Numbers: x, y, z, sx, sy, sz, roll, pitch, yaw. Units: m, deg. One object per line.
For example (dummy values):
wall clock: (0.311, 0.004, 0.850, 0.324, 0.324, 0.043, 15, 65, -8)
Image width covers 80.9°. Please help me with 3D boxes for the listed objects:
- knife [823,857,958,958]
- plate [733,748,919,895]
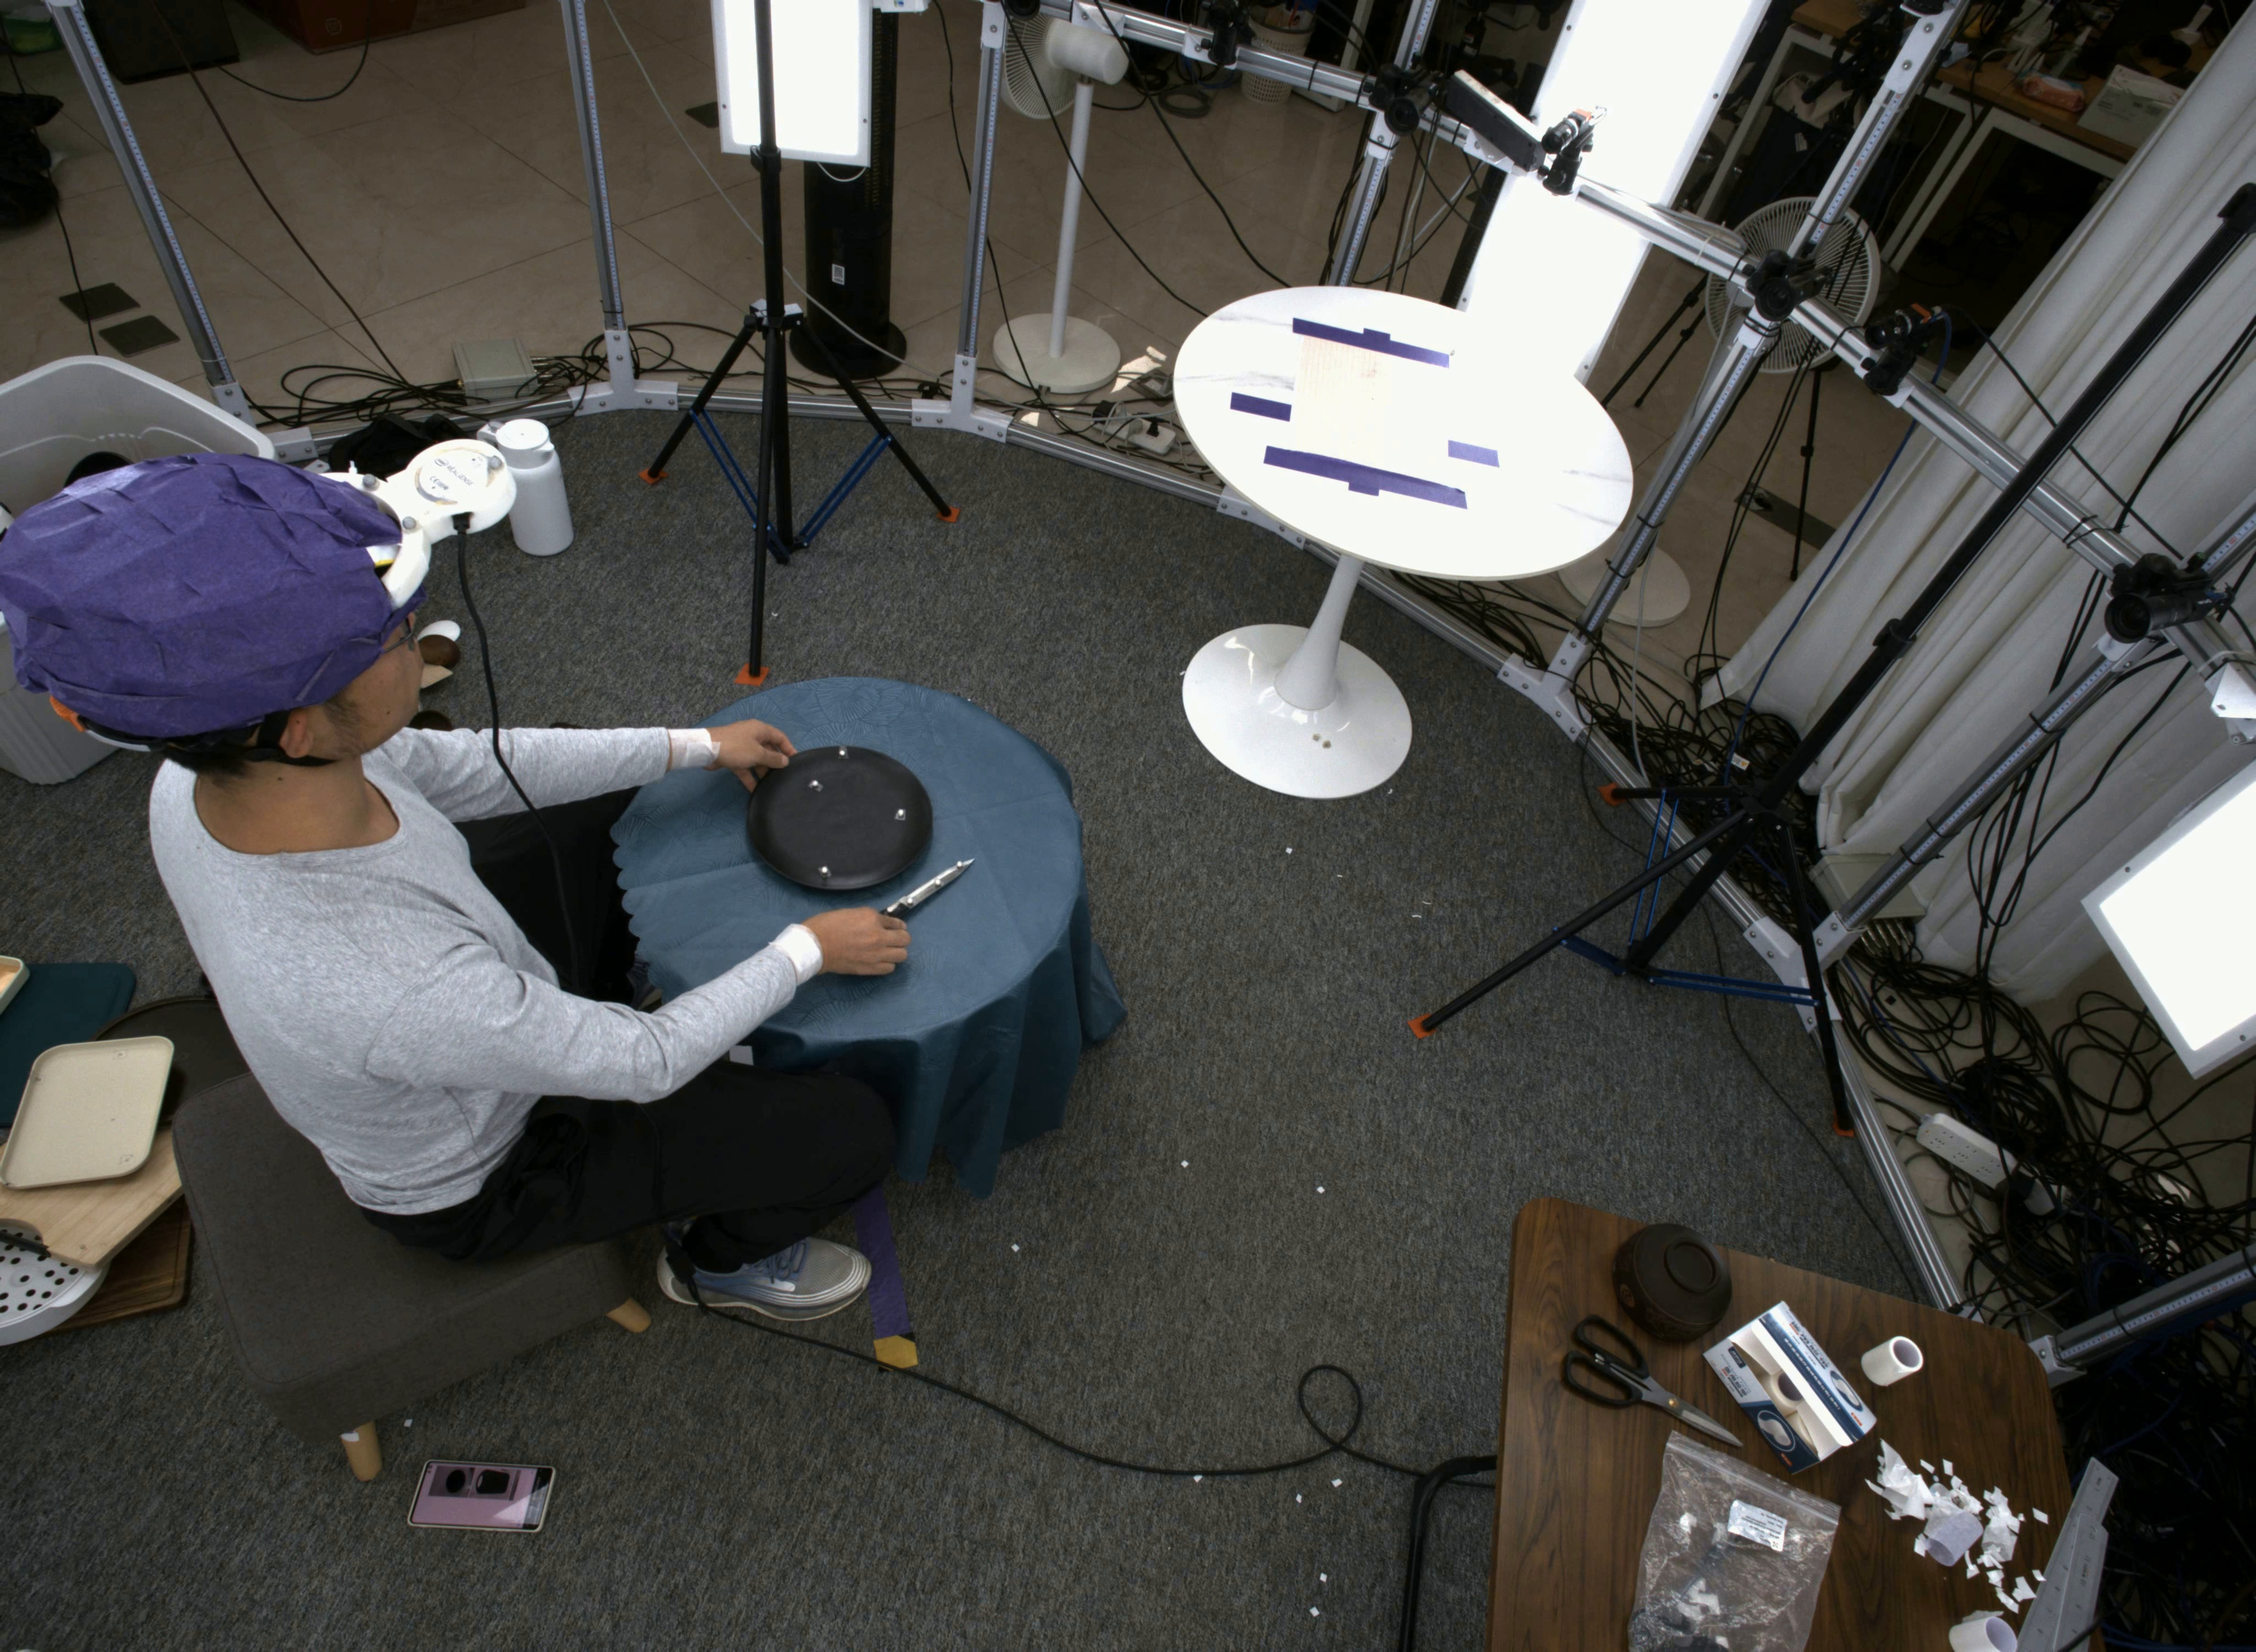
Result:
knife: (-0.299, 0.100, 1.679, 0.024, 0.017, 0.238, 33, 47, 21)
plate: (-0.402, -0.006, 1.731, 0.244, 0.024, 0.240, 8, 53, -9)
